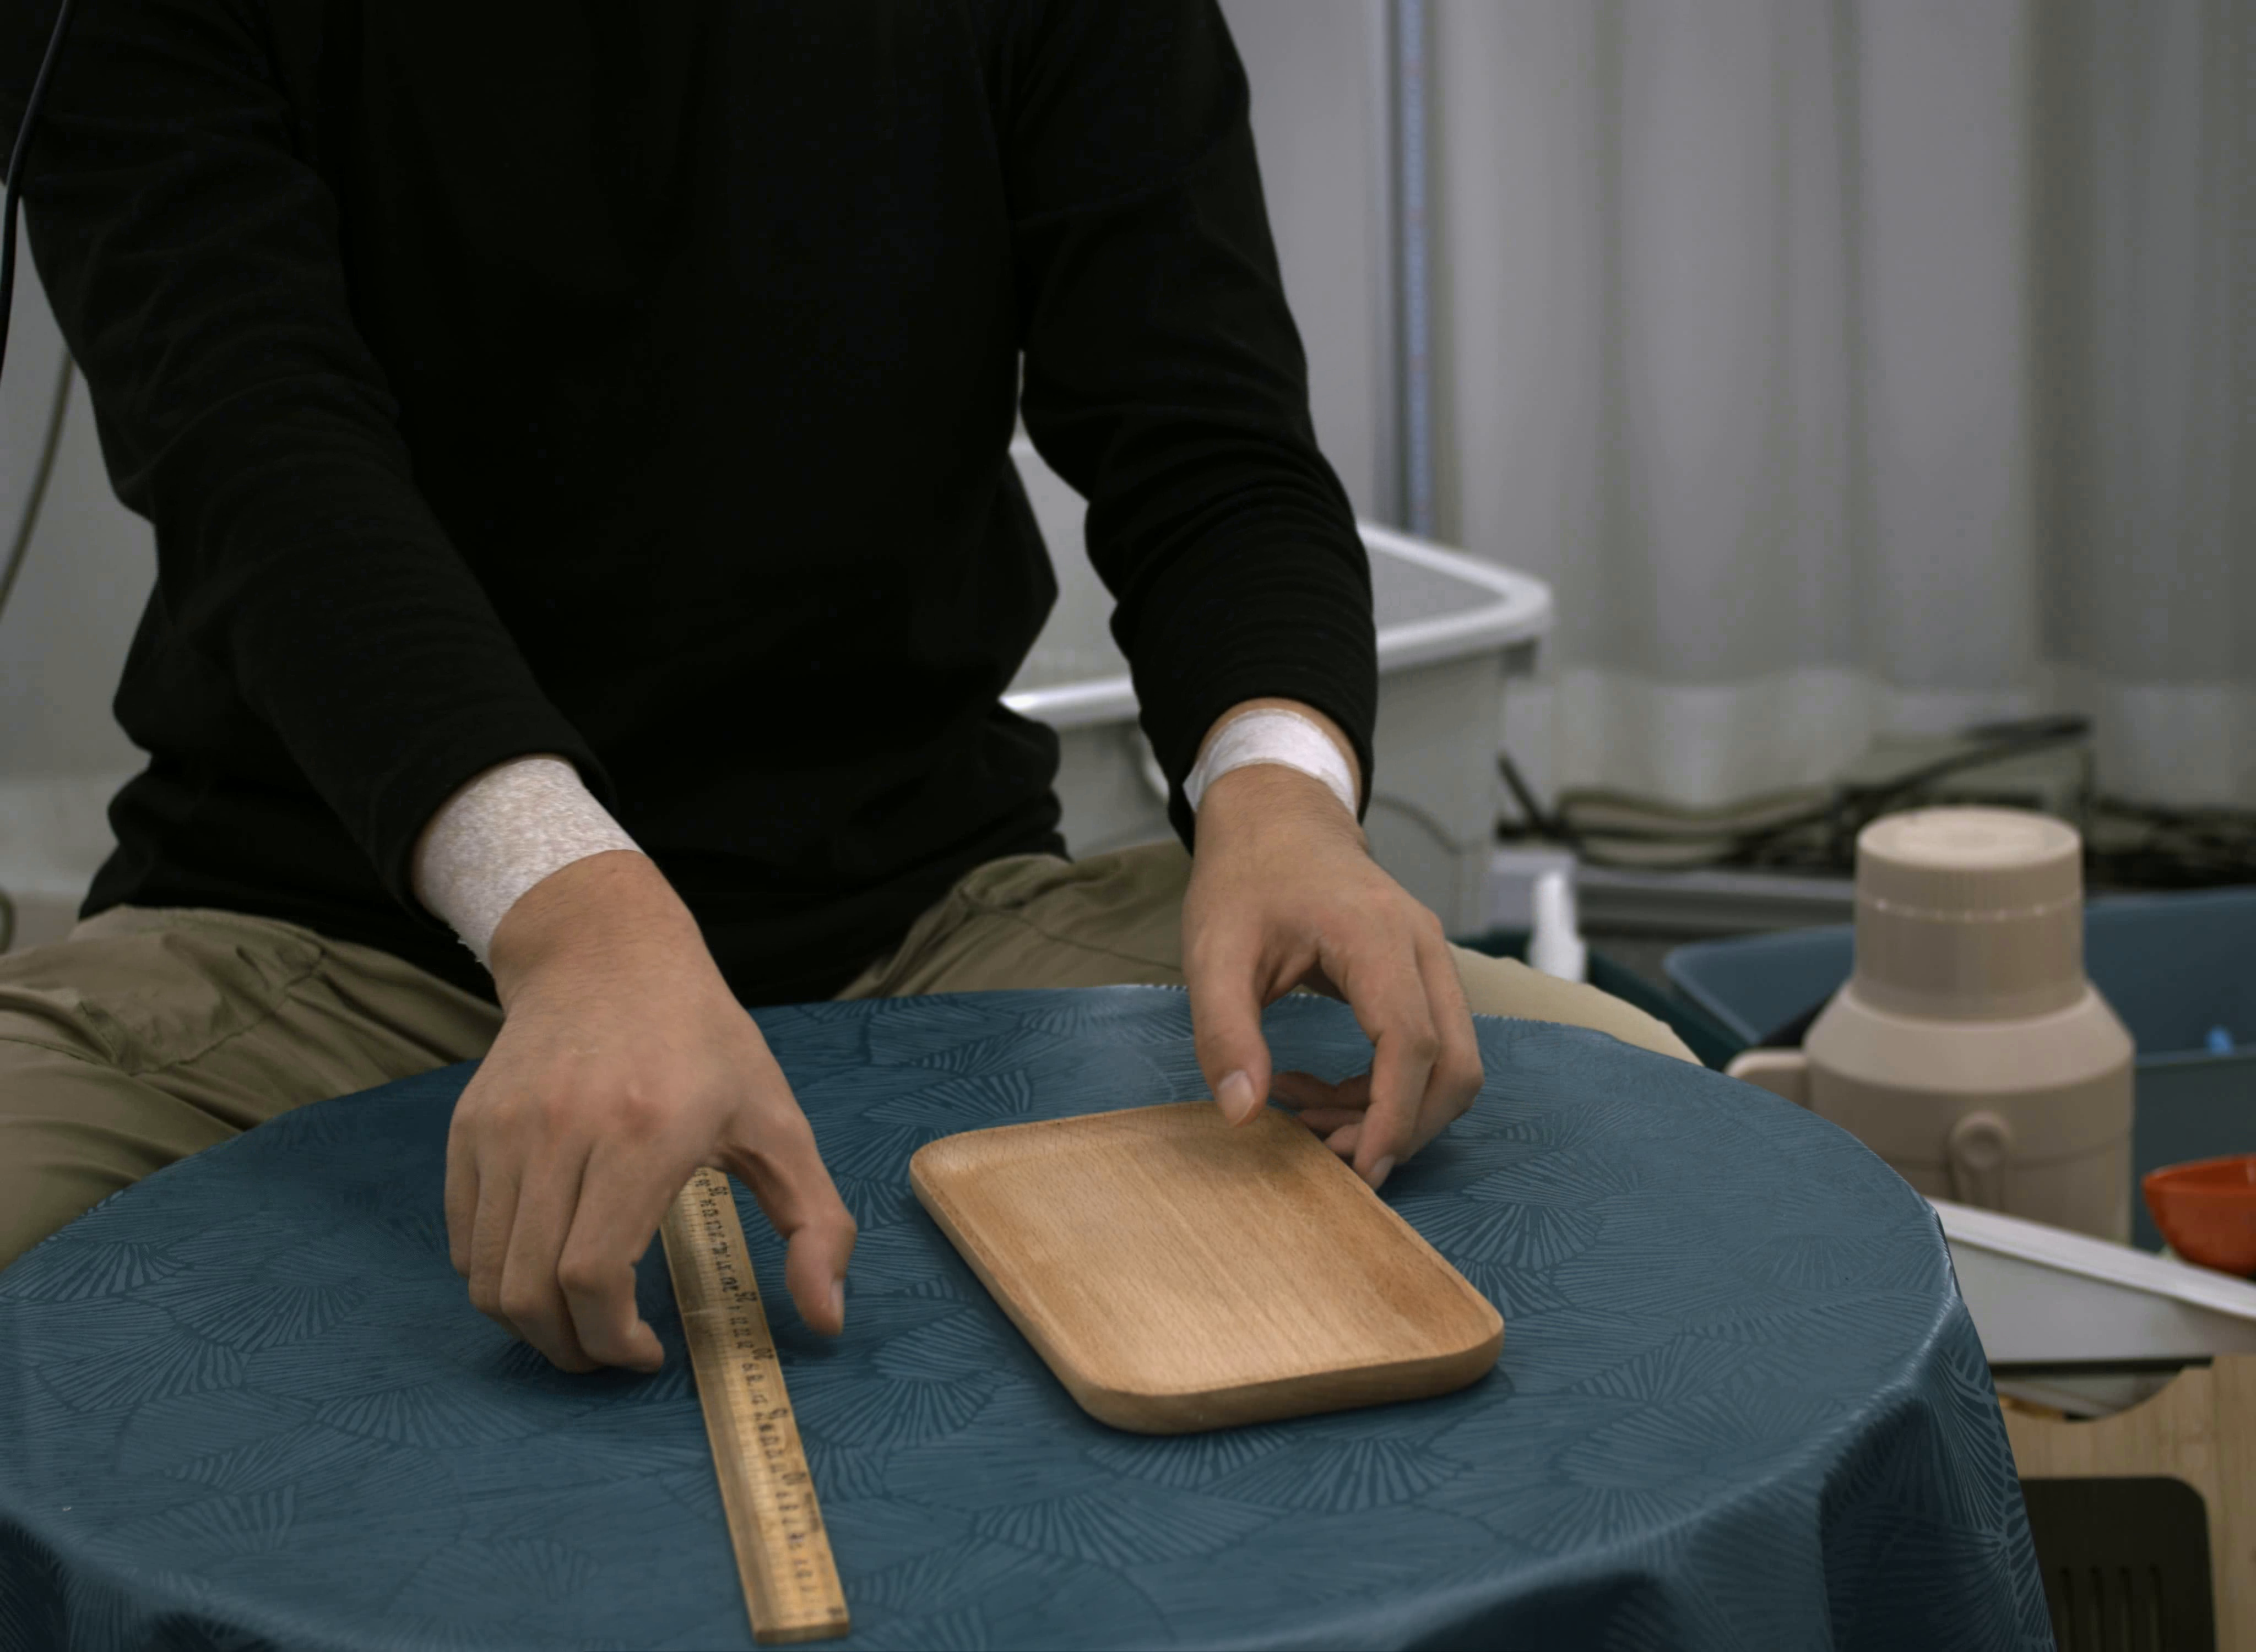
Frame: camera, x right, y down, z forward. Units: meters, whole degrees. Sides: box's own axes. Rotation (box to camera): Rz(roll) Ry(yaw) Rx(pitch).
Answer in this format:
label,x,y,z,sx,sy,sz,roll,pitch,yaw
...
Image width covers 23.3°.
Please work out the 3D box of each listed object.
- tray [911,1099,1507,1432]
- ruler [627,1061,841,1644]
label,x,y,z,sx,sy,sz,roll,pitch,yaw
tray,0.020,0.128,1.628,0.130,0.023,0.252,-4,14,-14
ruler,-0.121,0.143,1.621,0.026,0.006,0.504,-3,14,-8
